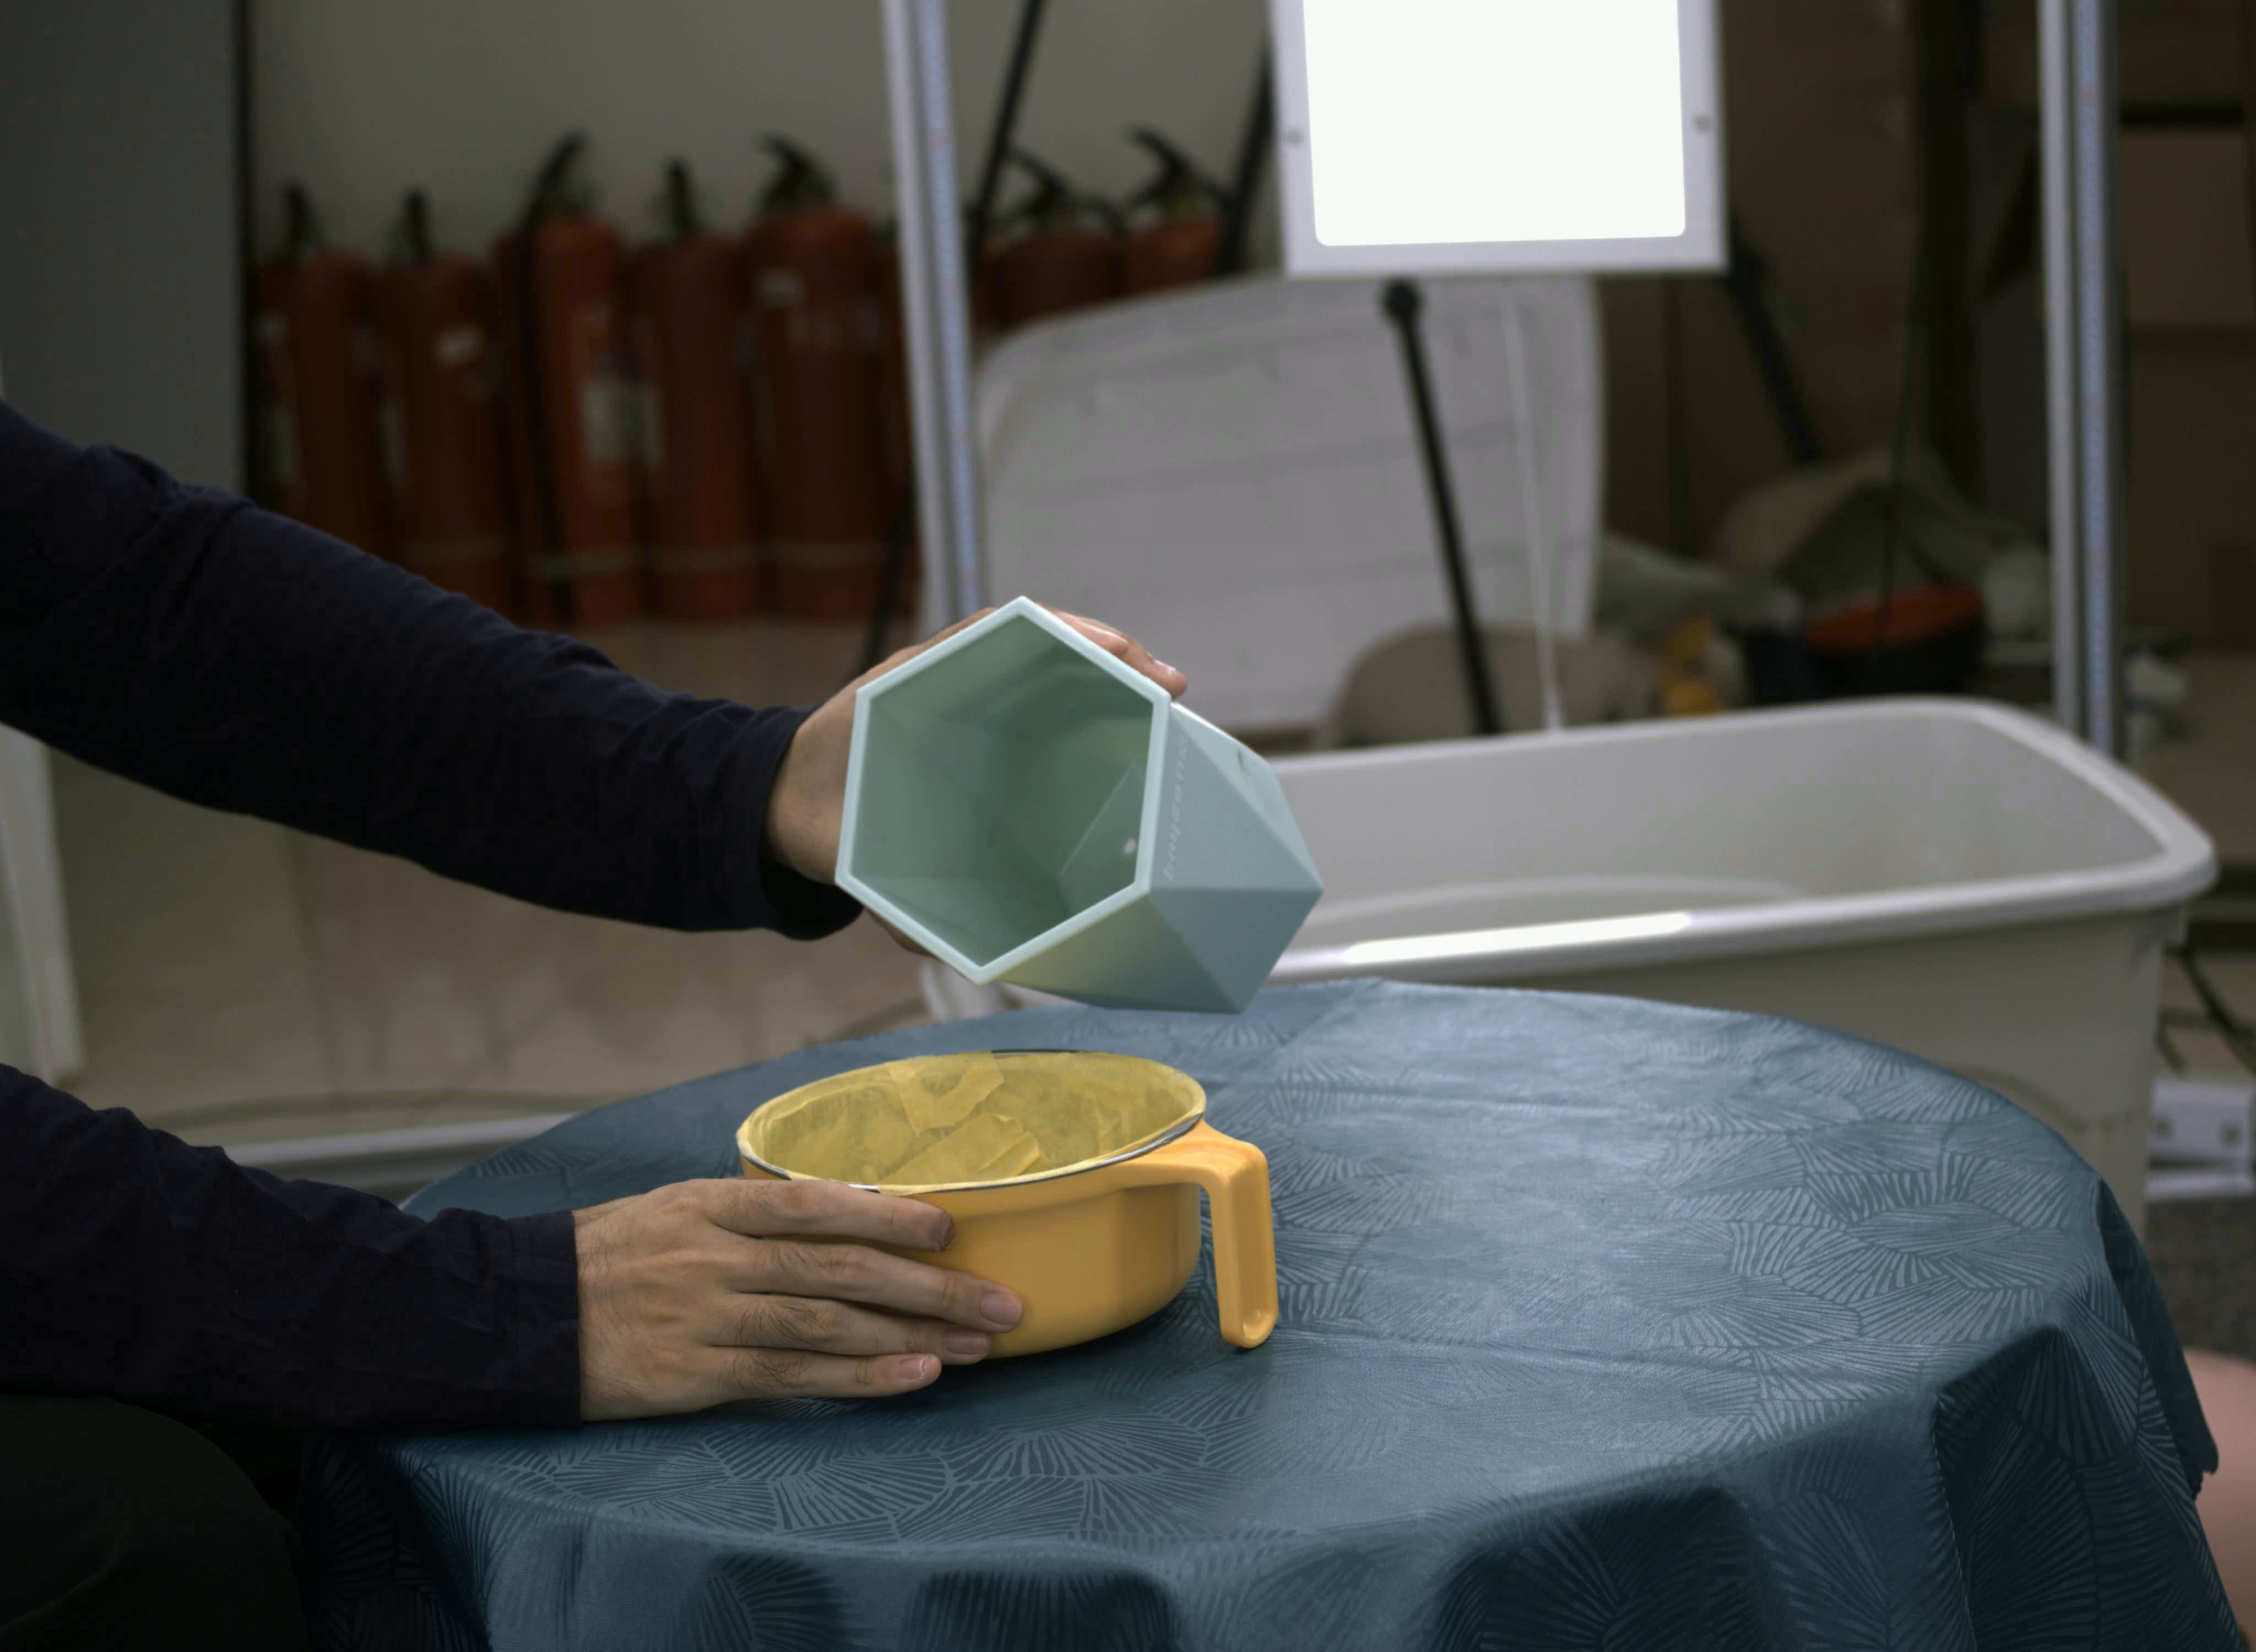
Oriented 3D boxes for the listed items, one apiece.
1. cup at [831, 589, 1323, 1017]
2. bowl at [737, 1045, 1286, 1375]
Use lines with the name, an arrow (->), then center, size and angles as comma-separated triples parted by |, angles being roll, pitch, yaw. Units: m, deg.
cup -> -0.011, 0.003, 1.871 | 0.117, 0.131, 0.160 | -1, -13, 26
bowl -> -0.035, 0.127, 1.772 | 0.182, 0.074, 0.149 | 0, 14, 30
